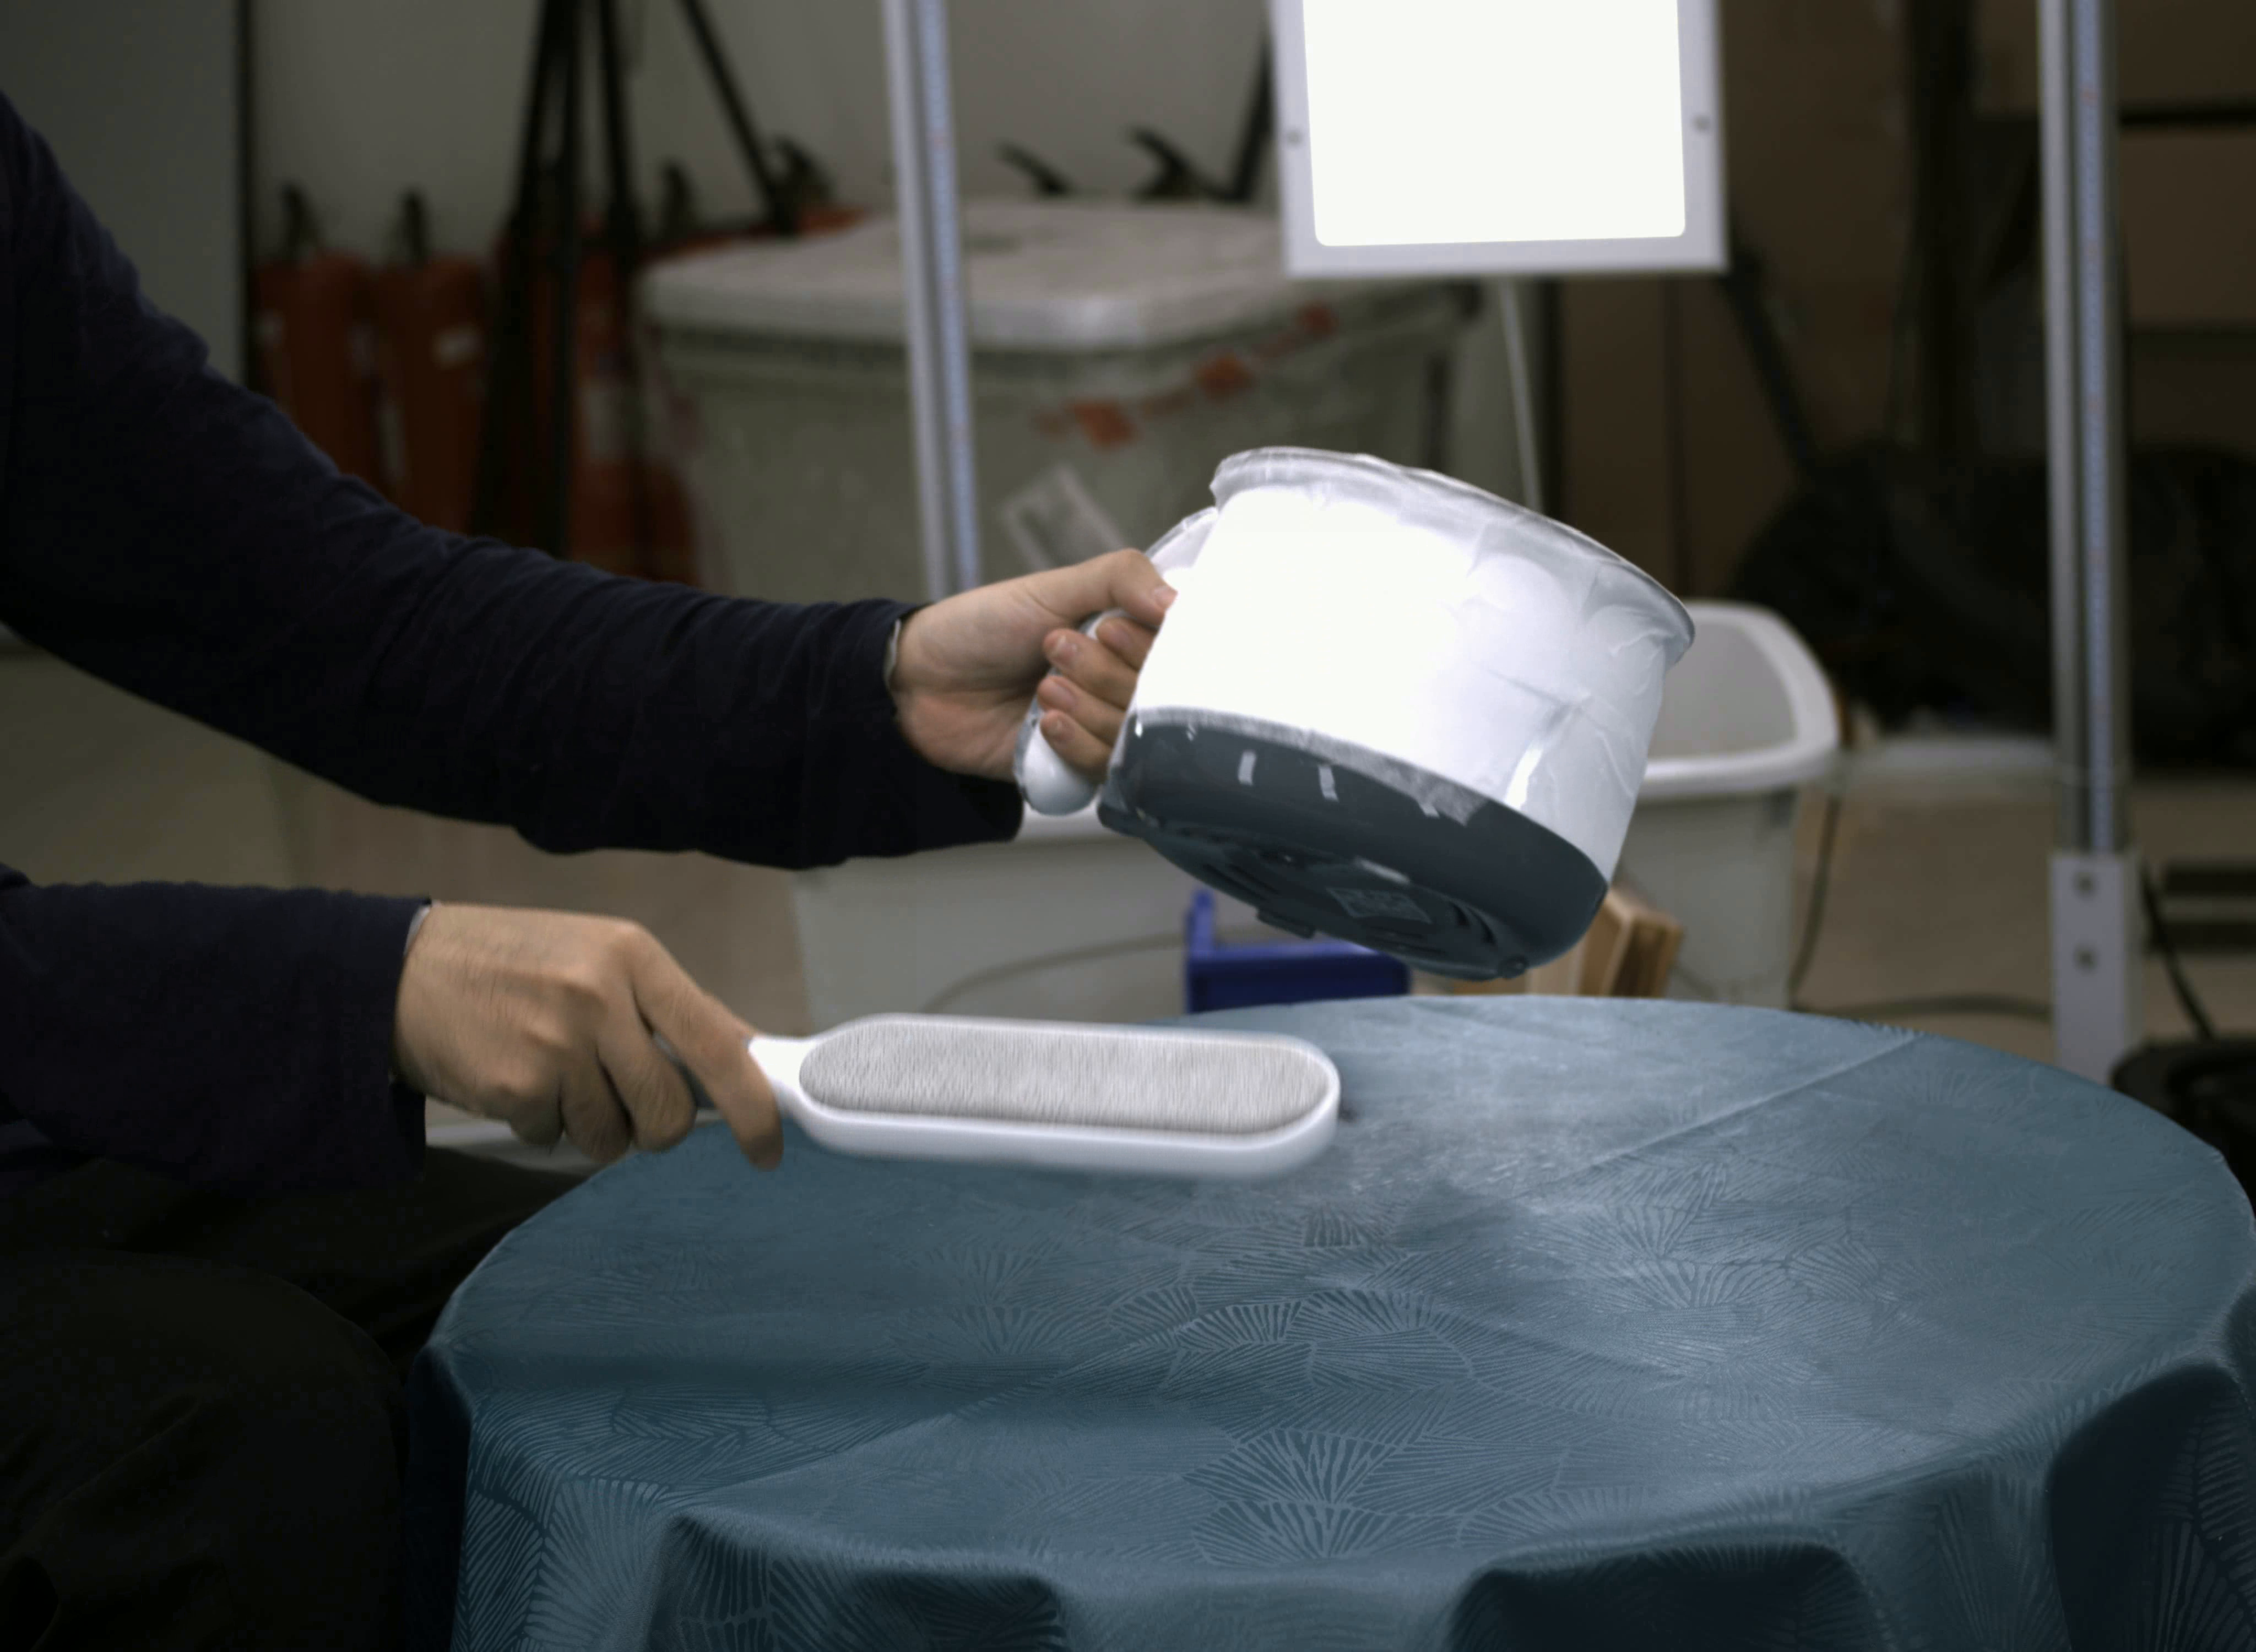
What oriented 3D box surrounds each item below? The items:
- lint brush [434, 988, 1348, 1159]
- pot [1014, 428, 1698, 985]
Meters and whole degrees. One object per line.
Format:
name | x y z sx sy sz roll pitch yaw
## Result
lint brush | -0.080 0.075 1.759 0.313 0.021 0.059 2 41 20
pot | 0.070 -0.044 1.915 0.238 0.136 0.176 13 -17 37
